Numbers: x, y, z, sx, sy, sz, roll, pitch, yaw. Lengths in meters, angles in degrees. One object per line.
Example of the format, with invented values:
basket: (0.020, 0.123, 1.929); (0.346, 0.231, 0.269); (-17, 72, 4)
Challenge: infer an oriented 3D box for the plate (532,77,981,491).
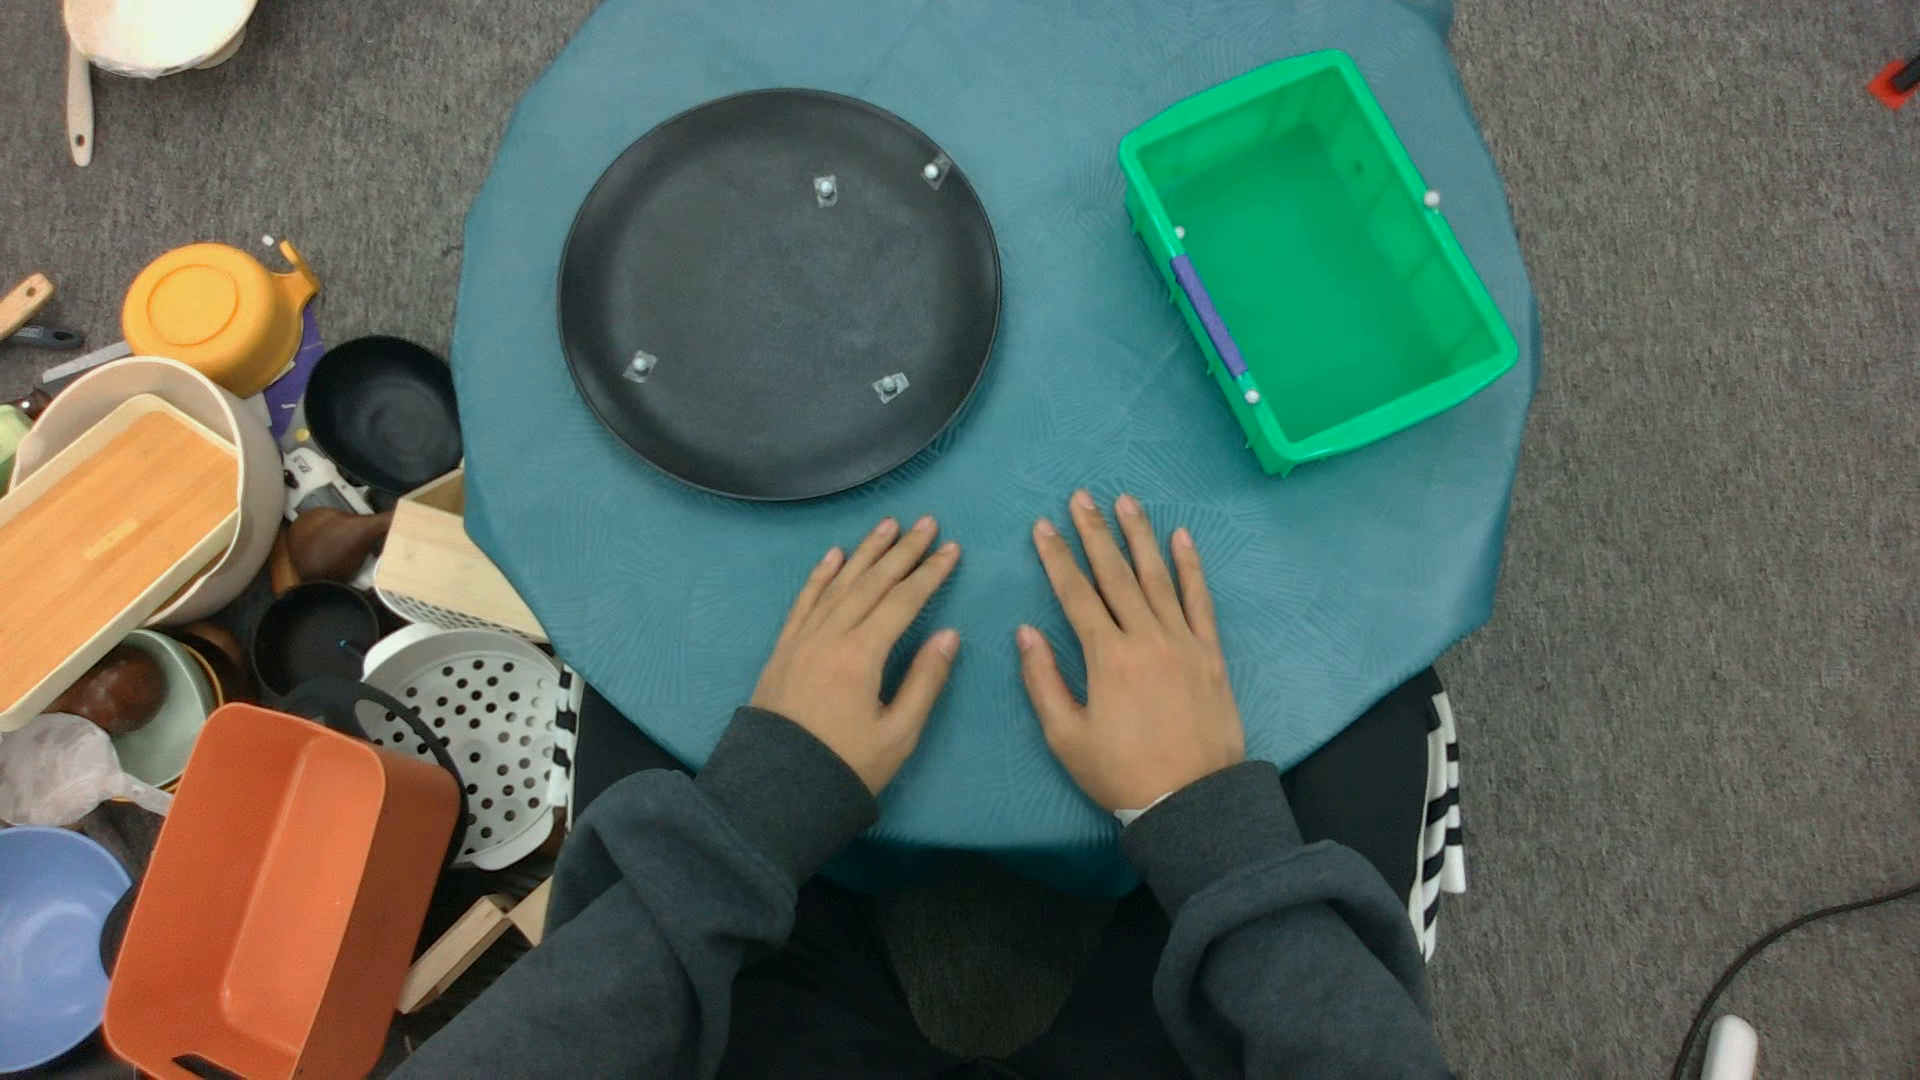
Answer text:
plate: (-0.110, -0.141, 0.759); (0.244, 0.023, 0.245); (0, 76, -1)

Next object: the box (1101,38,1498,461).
box: (0.175, -0.151, 0.743); (0.139, 0.065, 0.210); (-26, 80, -5)
